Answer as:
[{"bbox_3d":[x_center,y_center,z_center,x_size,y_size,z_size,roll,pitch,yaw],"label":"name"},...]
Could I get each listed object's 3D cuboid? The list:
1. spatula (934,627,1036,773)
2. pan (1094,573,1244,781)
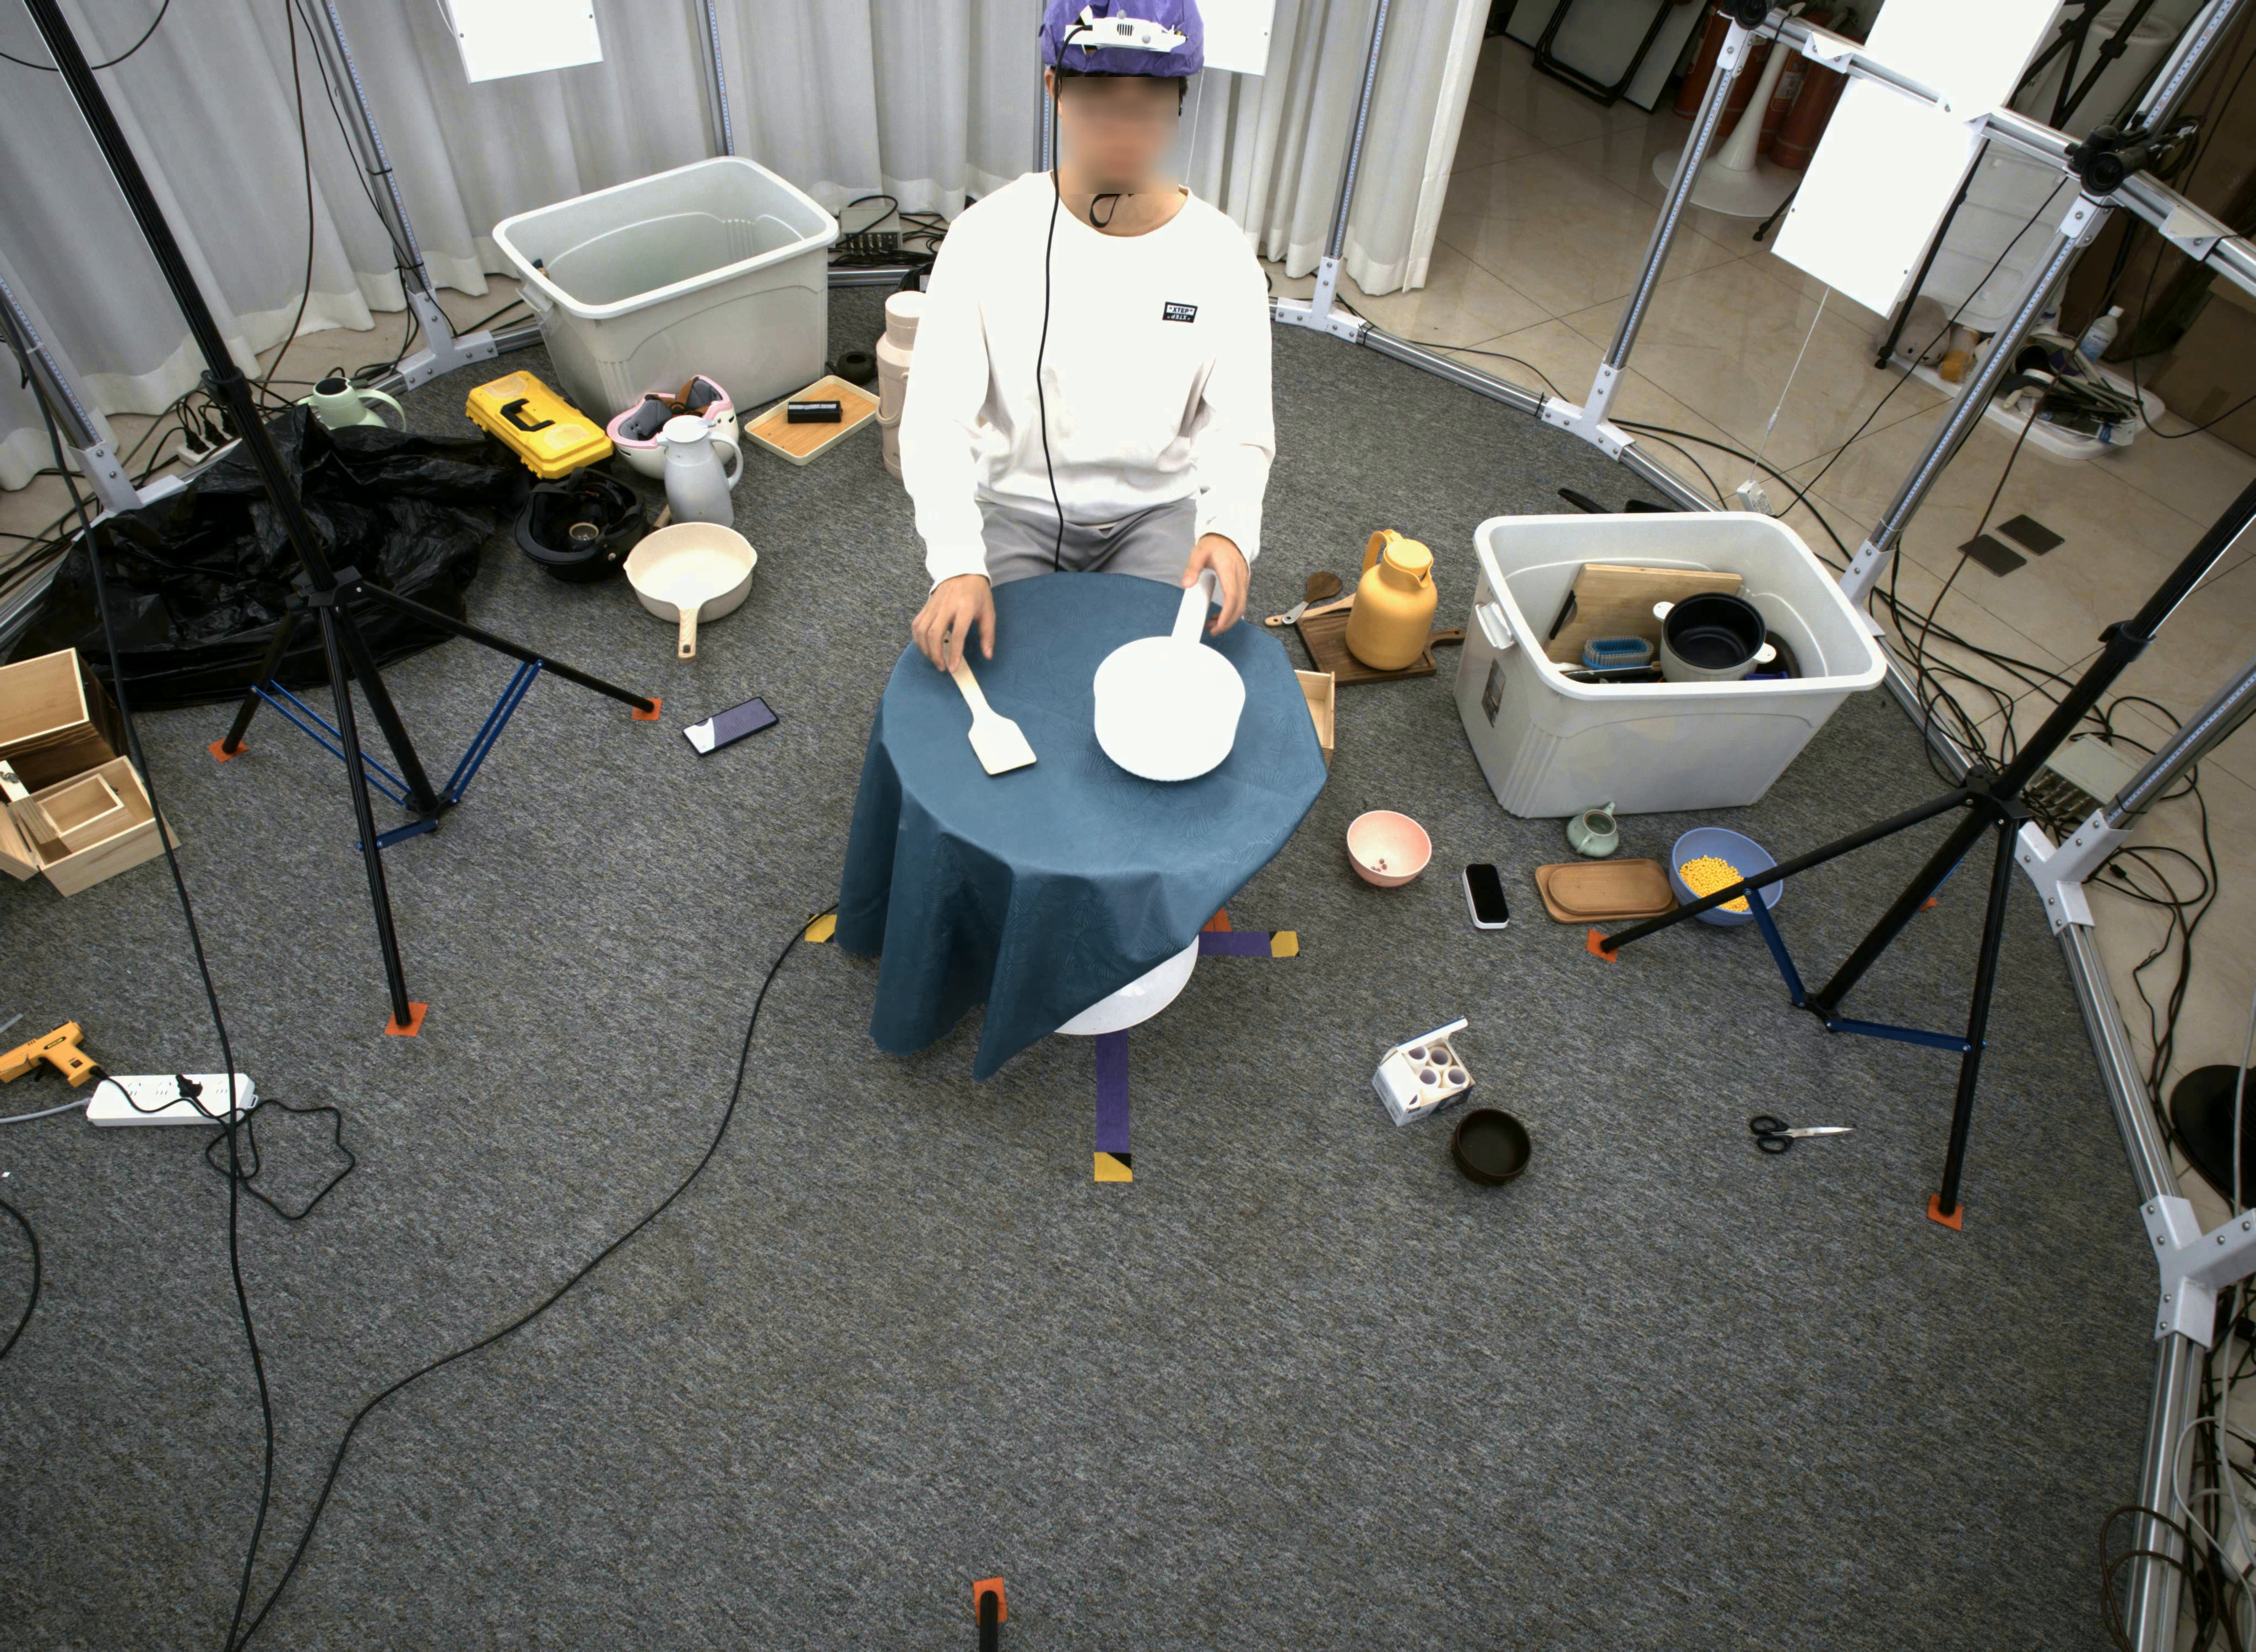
[{"bbox_3d":[-0.214,-0.183,1.802,0.072,0.010,0.300,-18,53,-17],"label":"spatula"},{"bbox_3d":[0.069,-0.209,1.790,0.201,0.099,0.363,11,48,7],"label":"pan"}]
